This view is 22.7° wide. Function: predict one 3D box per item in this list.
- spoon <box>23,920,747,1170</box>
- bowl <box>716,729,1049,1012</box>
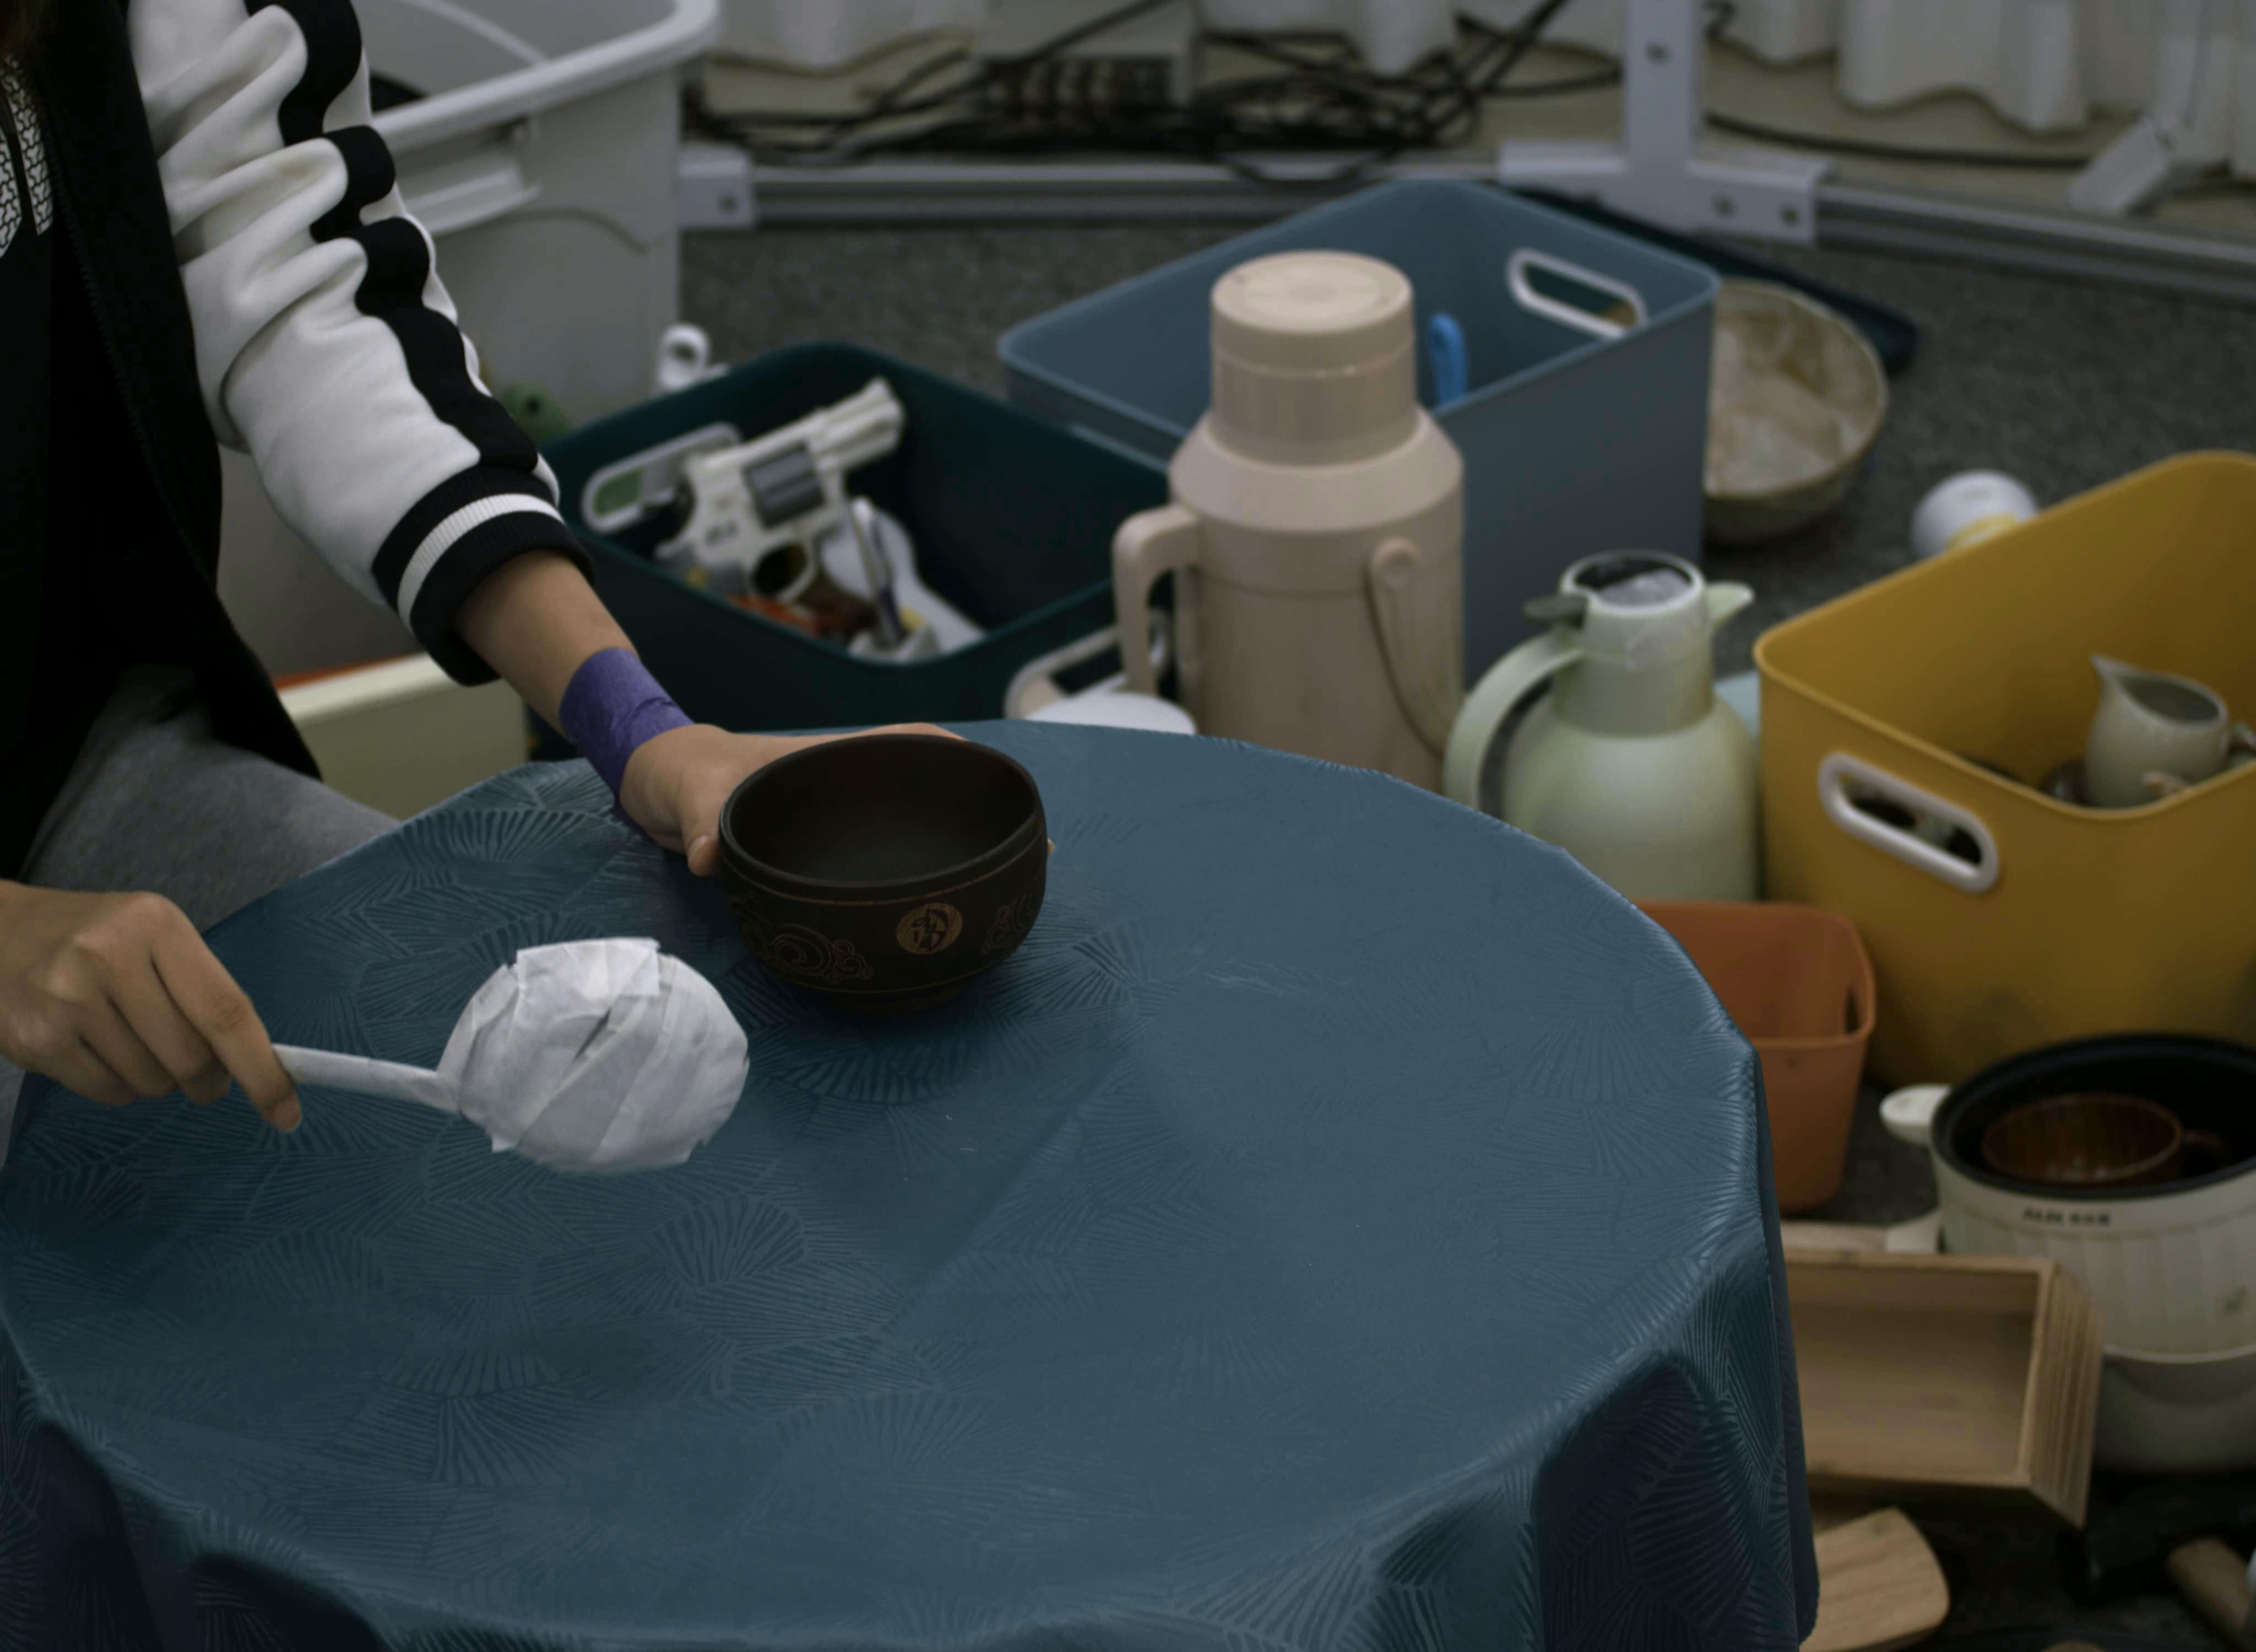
[{"bbox_3d":[-0.246,0.066,1.840,0.275,0.100,0.060,5,37,36],"label":"spoon"},{"bbox_3d":[-0.085,0.022,1.983,0.117,0.069,0.120,-2,27,1],"label":"bowl"}]
